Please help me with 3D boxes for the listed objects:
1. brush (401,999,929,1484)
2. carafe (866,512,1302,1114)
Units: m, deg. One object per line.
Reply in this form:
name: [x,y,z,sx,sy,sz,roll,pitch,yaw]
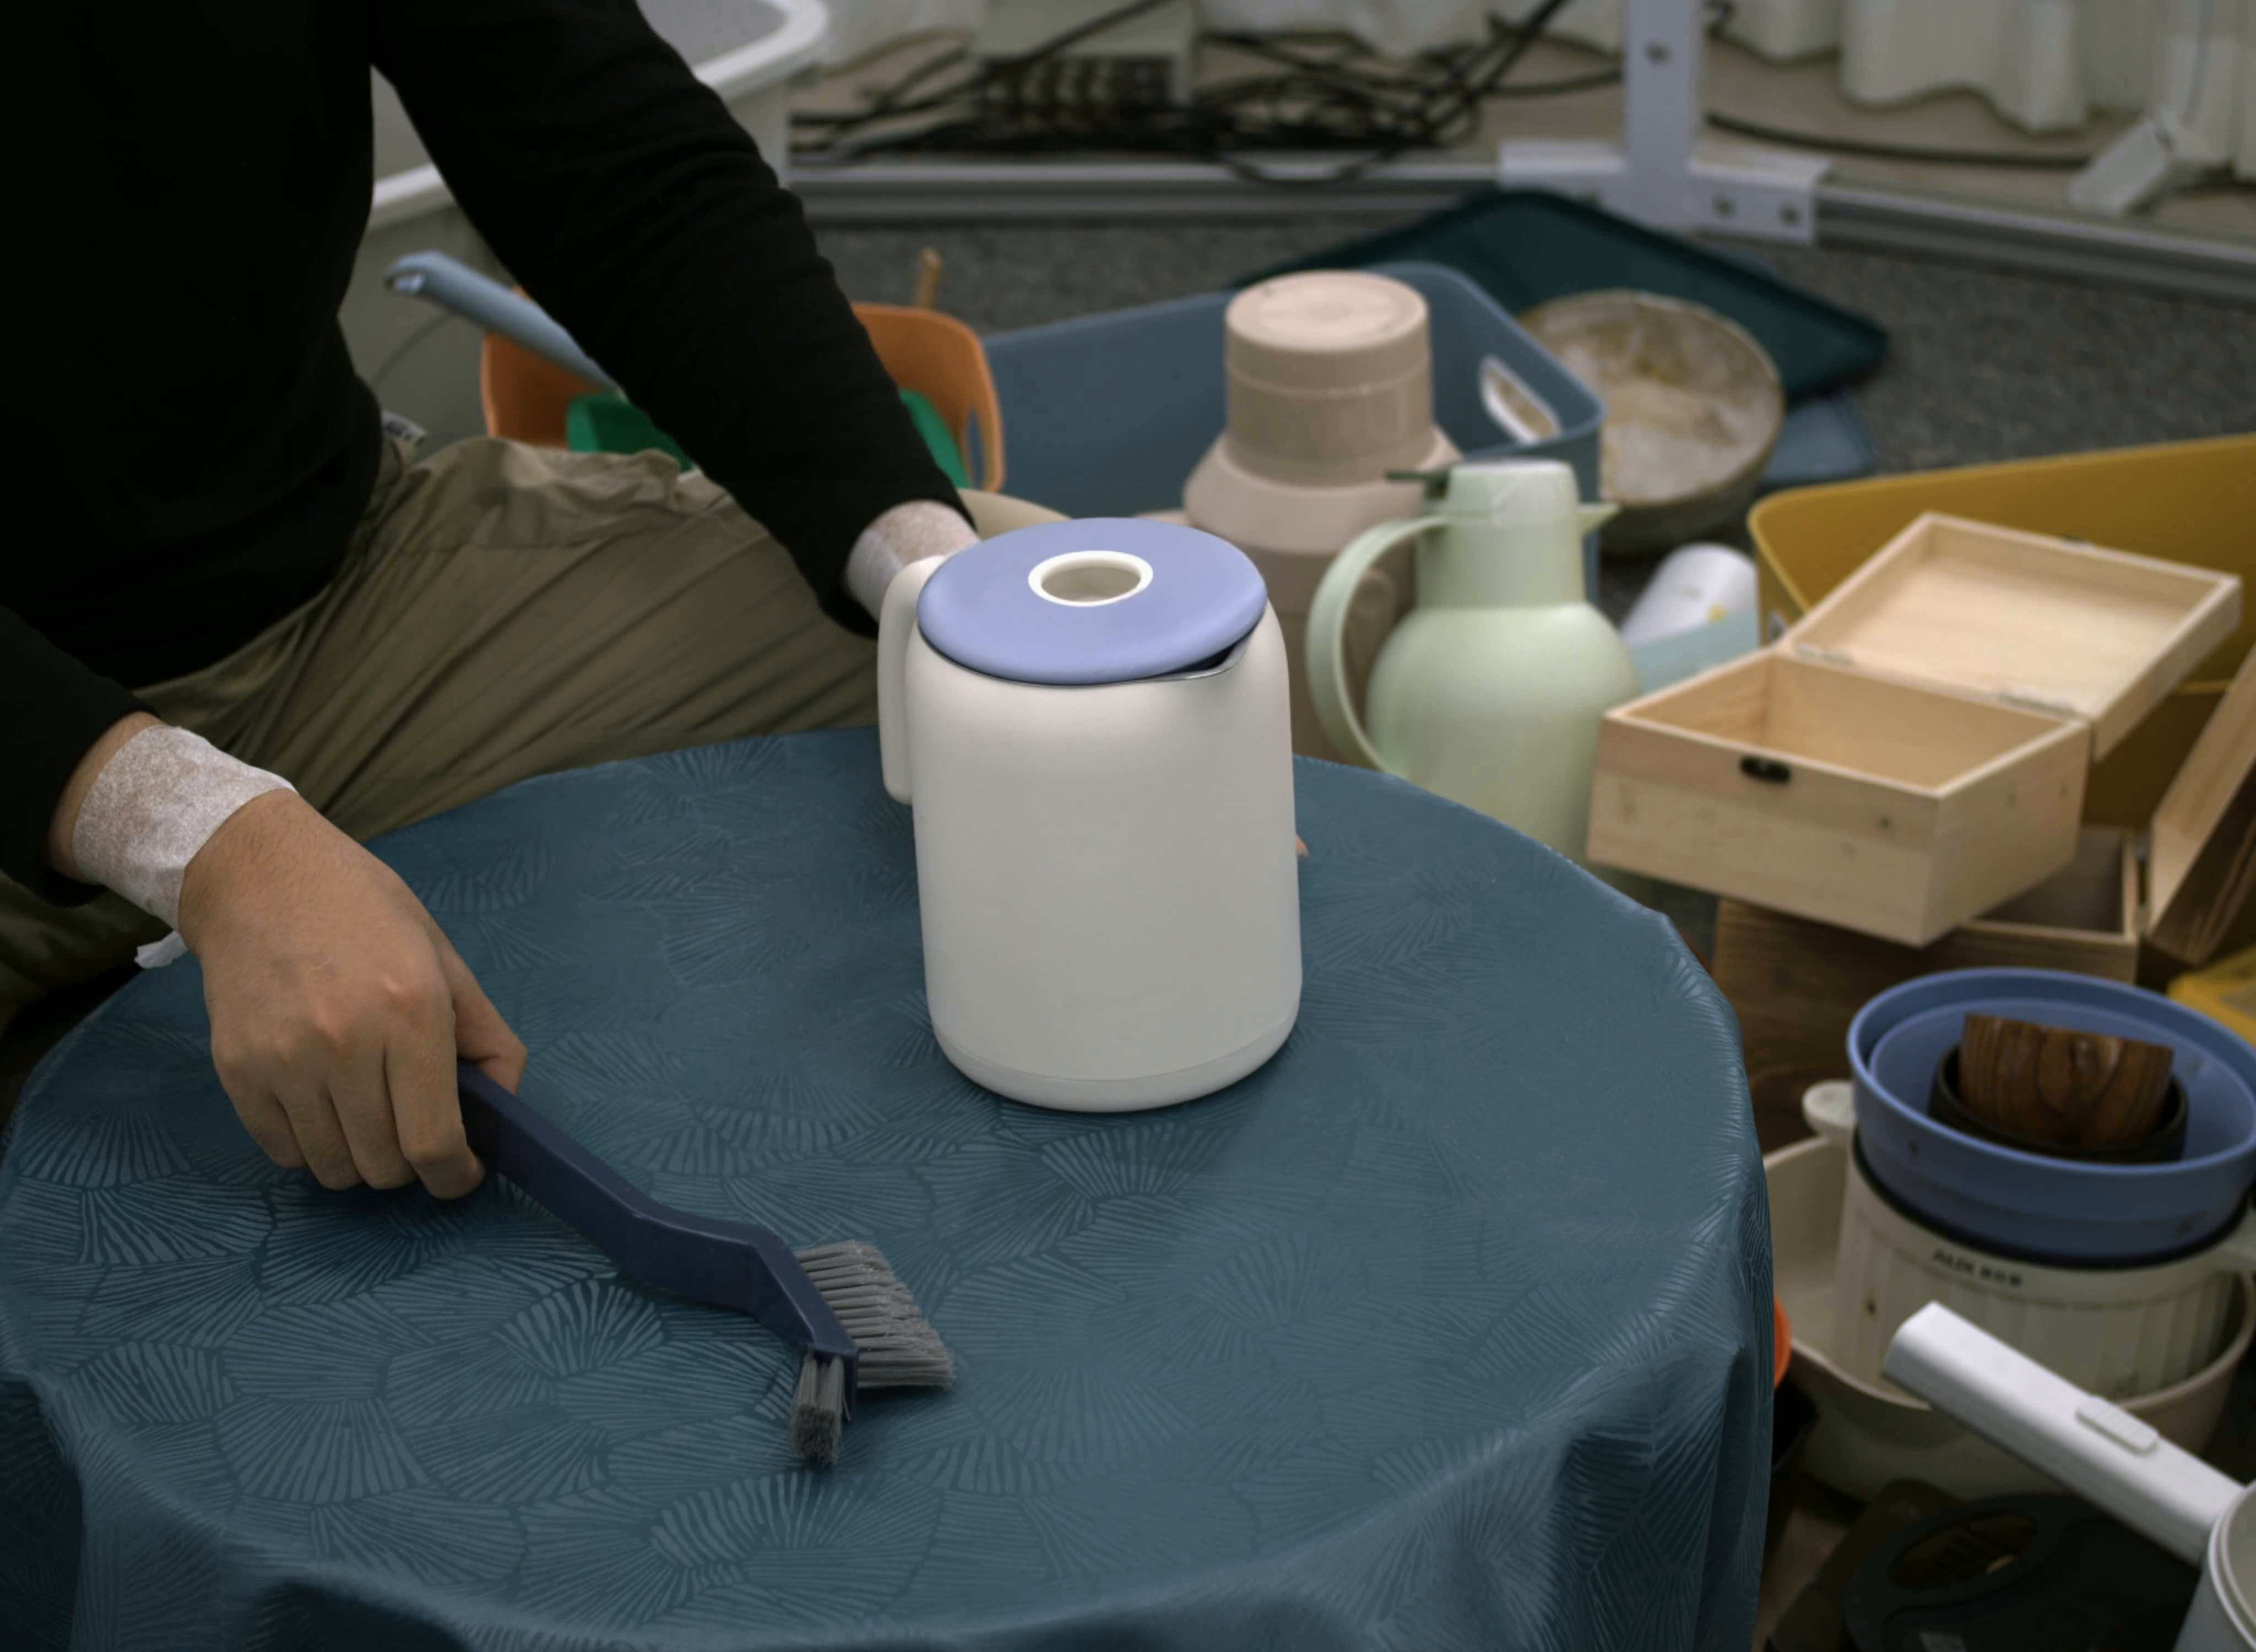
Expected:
brush: [-0.169,0.130,1.821,0.273,0.033,0.097,25,38,37]
carafe: [-0.024,-0.013,1.939,0.133,0.181,0.191,-24,32,-36]
